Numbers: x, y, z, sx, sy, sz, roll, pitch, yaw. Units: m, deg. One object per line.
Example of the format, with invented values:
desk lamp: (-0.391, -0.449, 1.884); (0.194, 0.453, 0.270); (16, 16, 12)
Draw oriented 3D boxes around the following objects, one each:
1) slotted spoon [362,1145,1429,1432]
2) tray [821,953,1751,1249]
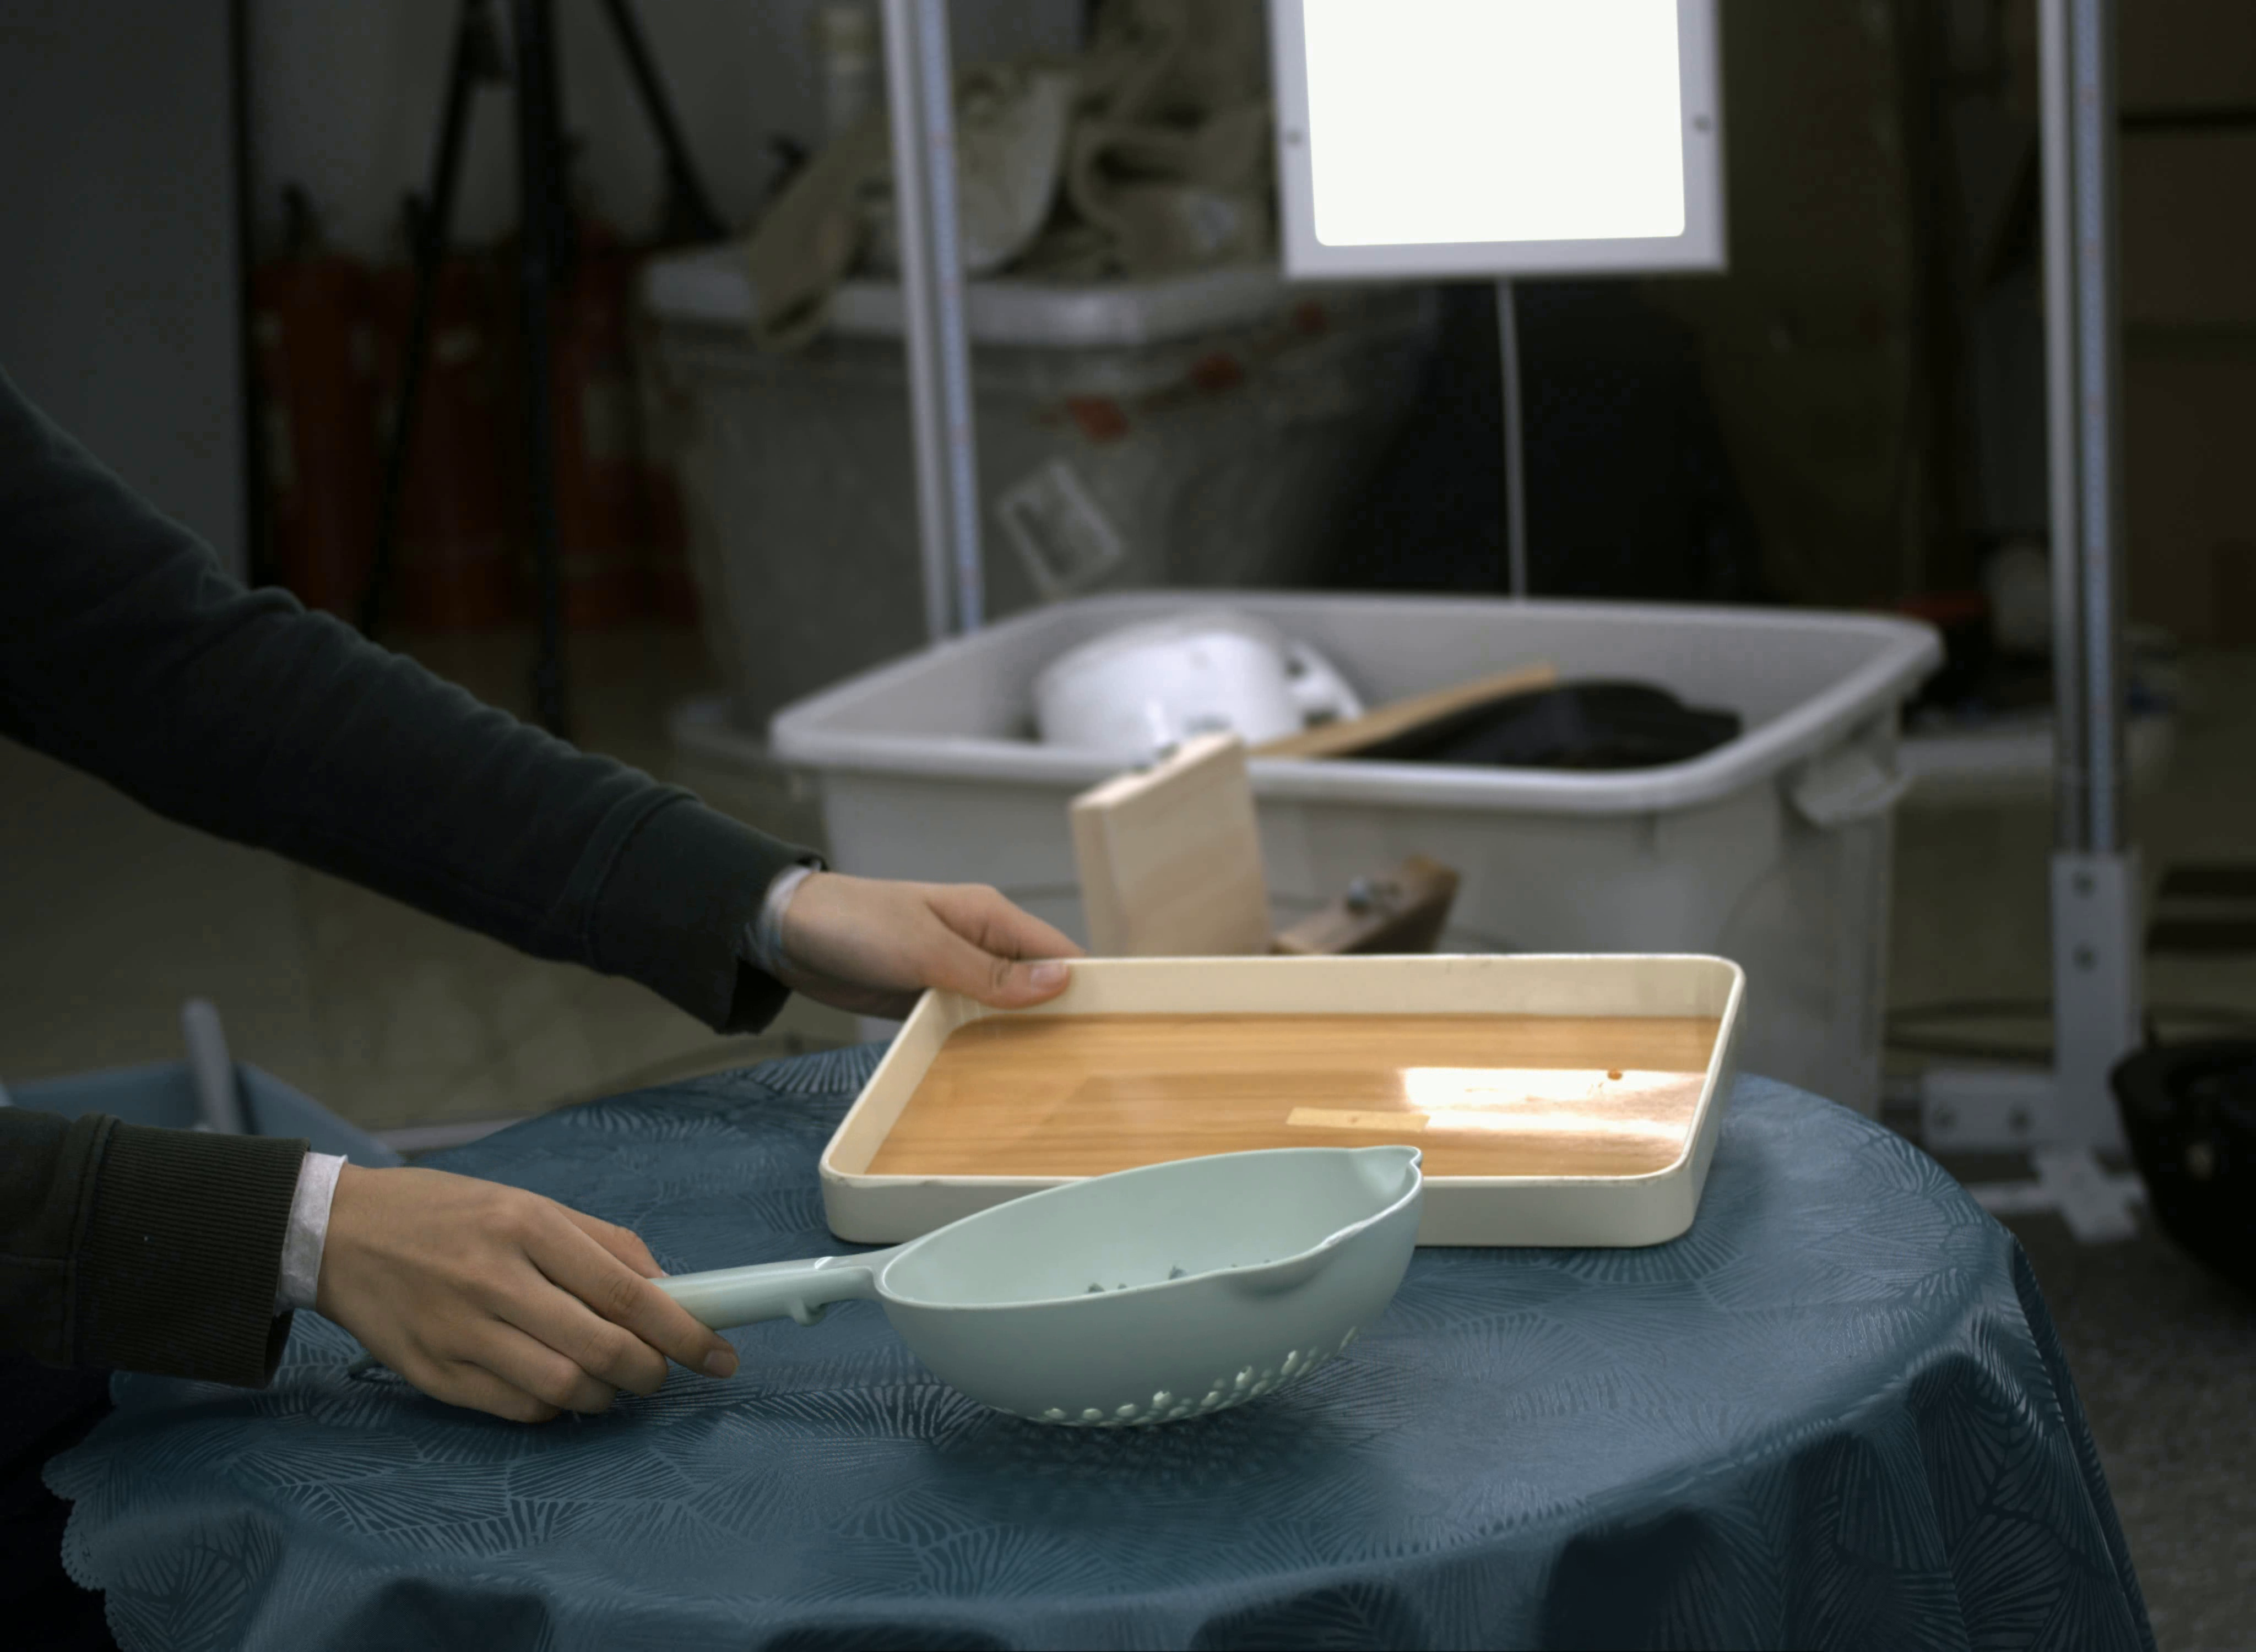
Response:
slotted spoon: (-0.080, 0.146, 1.713); (0.364, 0.075, 0.166); (1, 11, 21)
tray: (0.058, 0.093, 1.907); (0.303, 0.027, 0.189); (-1, 22, 16)
